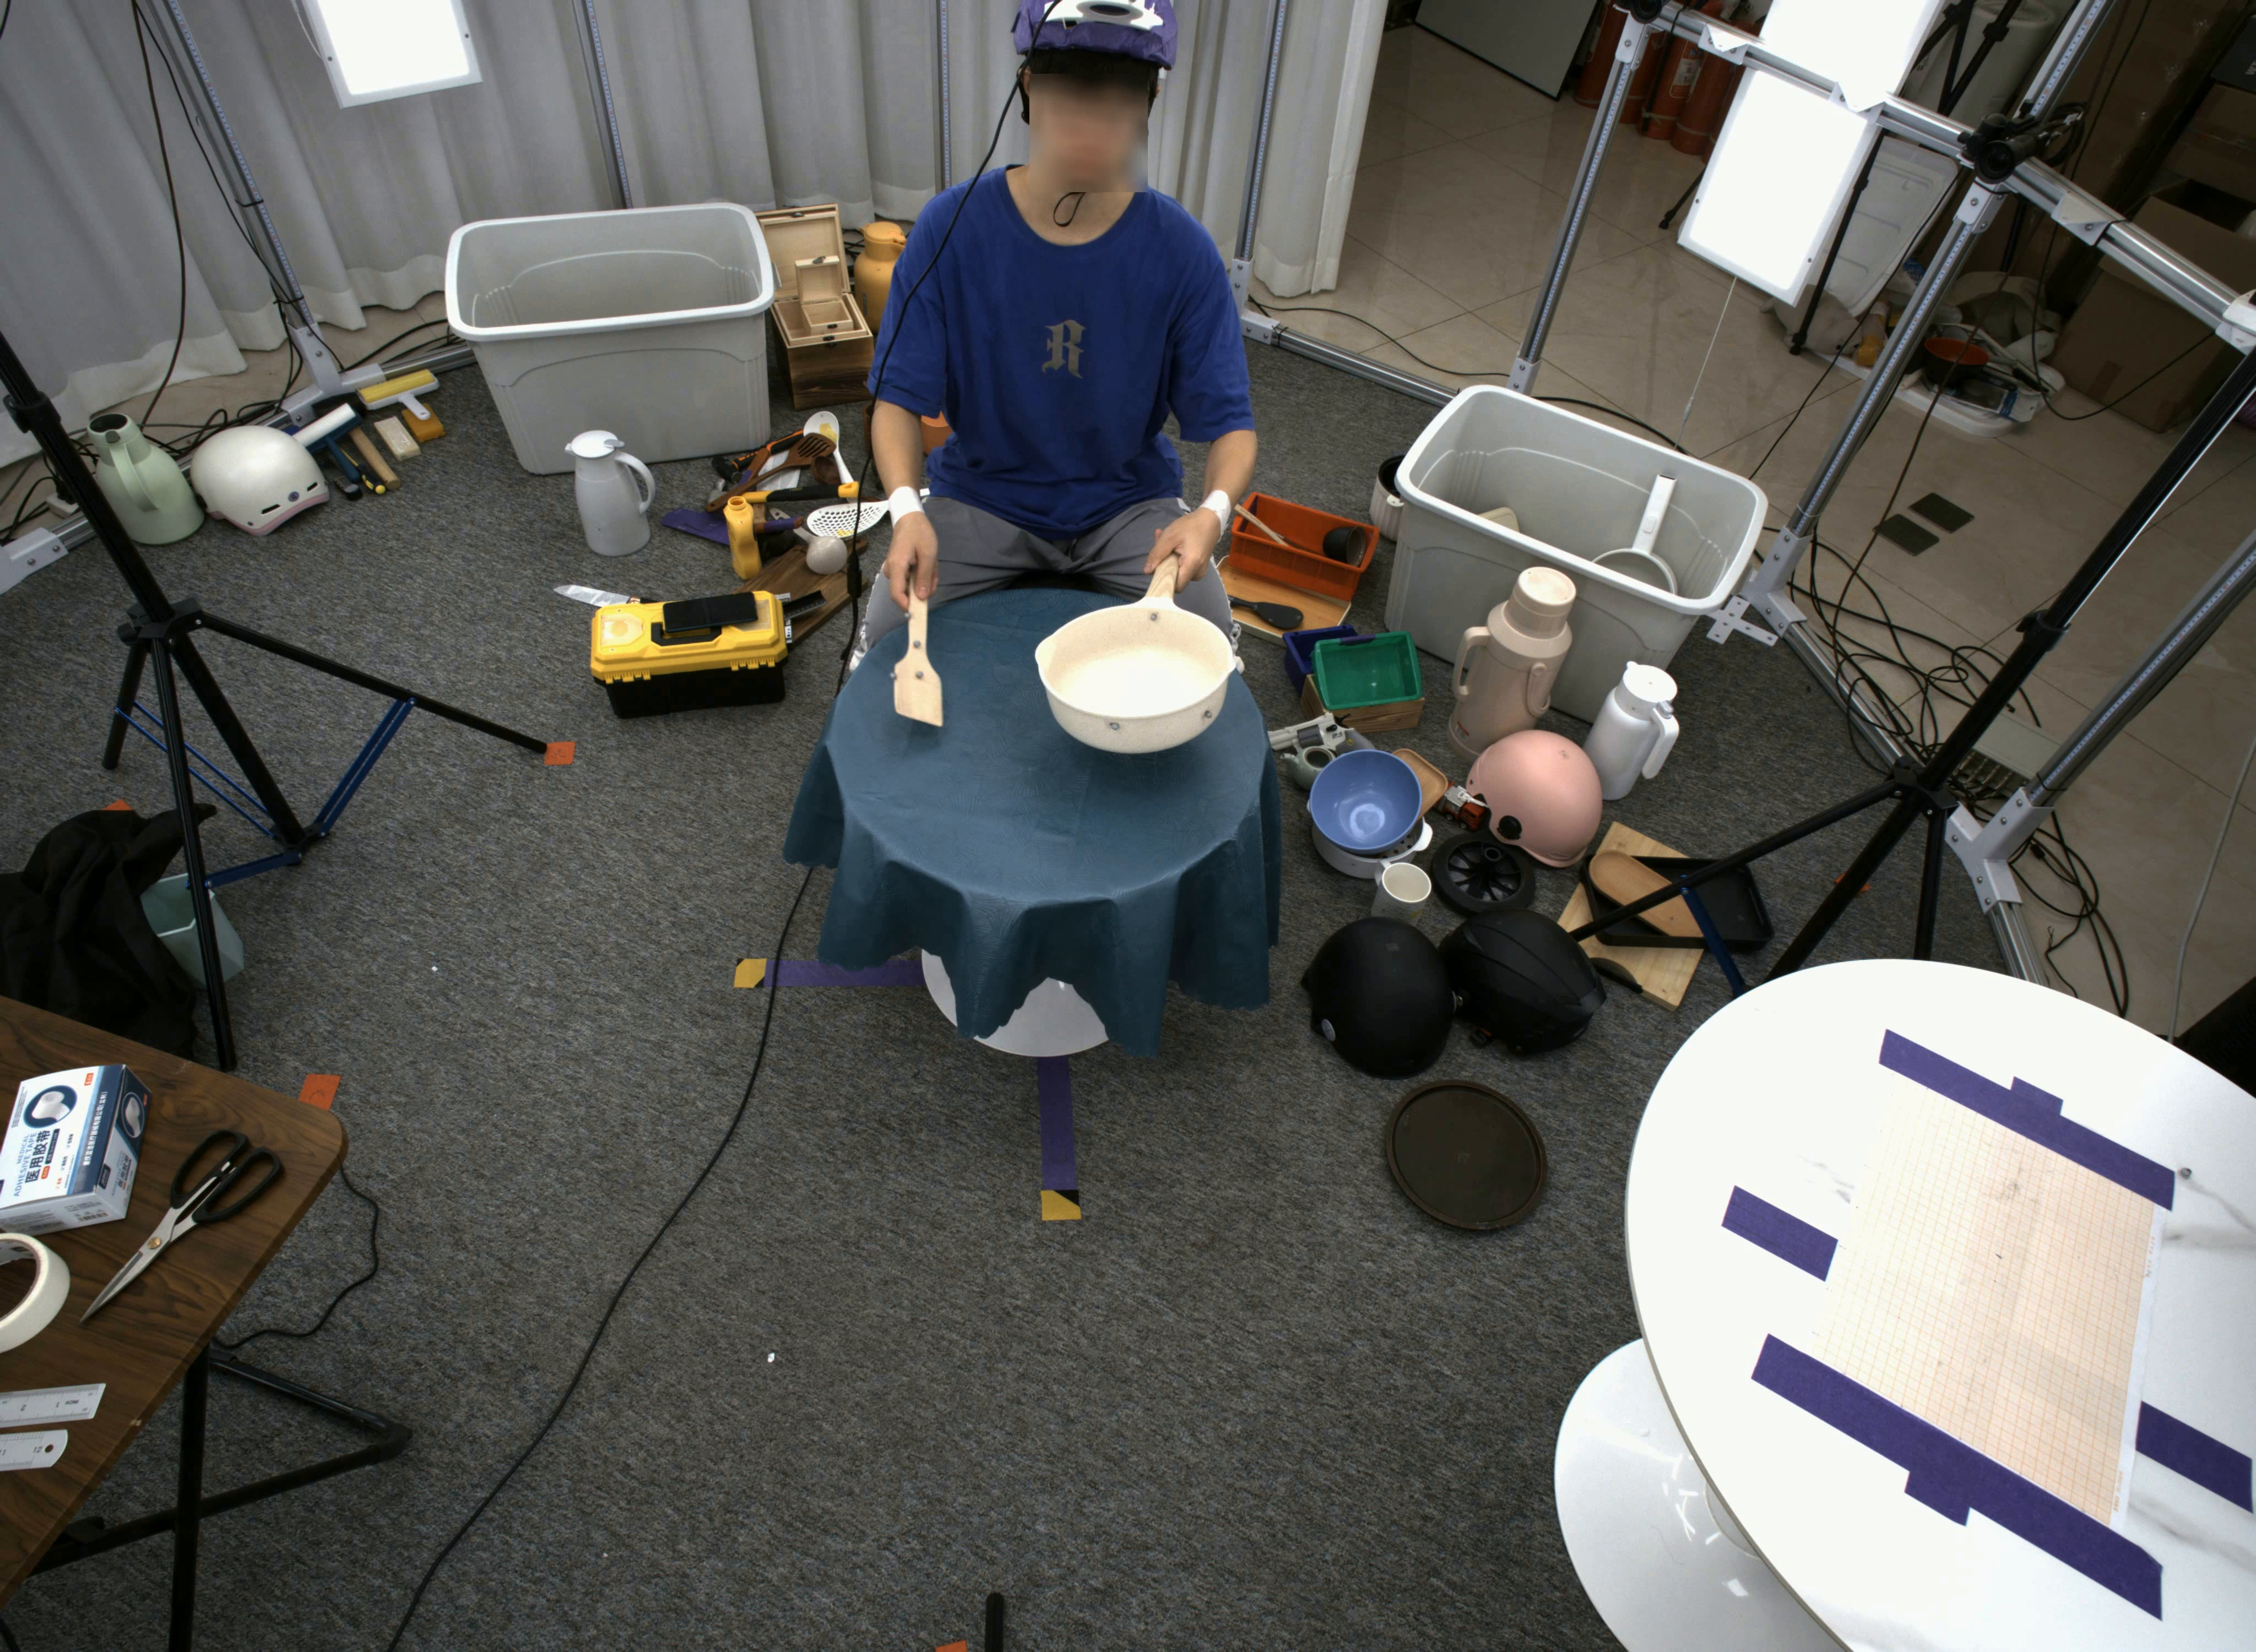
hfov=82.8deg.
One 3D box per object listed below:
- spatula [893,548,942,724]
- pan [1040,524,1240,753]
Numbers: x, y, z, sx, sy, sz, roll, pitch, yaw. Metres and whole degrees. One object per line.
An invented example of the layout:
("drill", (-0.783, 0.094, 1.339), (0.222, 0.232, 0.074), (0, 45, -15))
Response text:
("spatula", (-0.292, -0.272, 1.798), (0.071, 0.010, 0.299), (17, 54, -32))
("pan", (0.035, -0.257, 1.748), (0.264, 0.099, 0.444), (4, 42, 12))
